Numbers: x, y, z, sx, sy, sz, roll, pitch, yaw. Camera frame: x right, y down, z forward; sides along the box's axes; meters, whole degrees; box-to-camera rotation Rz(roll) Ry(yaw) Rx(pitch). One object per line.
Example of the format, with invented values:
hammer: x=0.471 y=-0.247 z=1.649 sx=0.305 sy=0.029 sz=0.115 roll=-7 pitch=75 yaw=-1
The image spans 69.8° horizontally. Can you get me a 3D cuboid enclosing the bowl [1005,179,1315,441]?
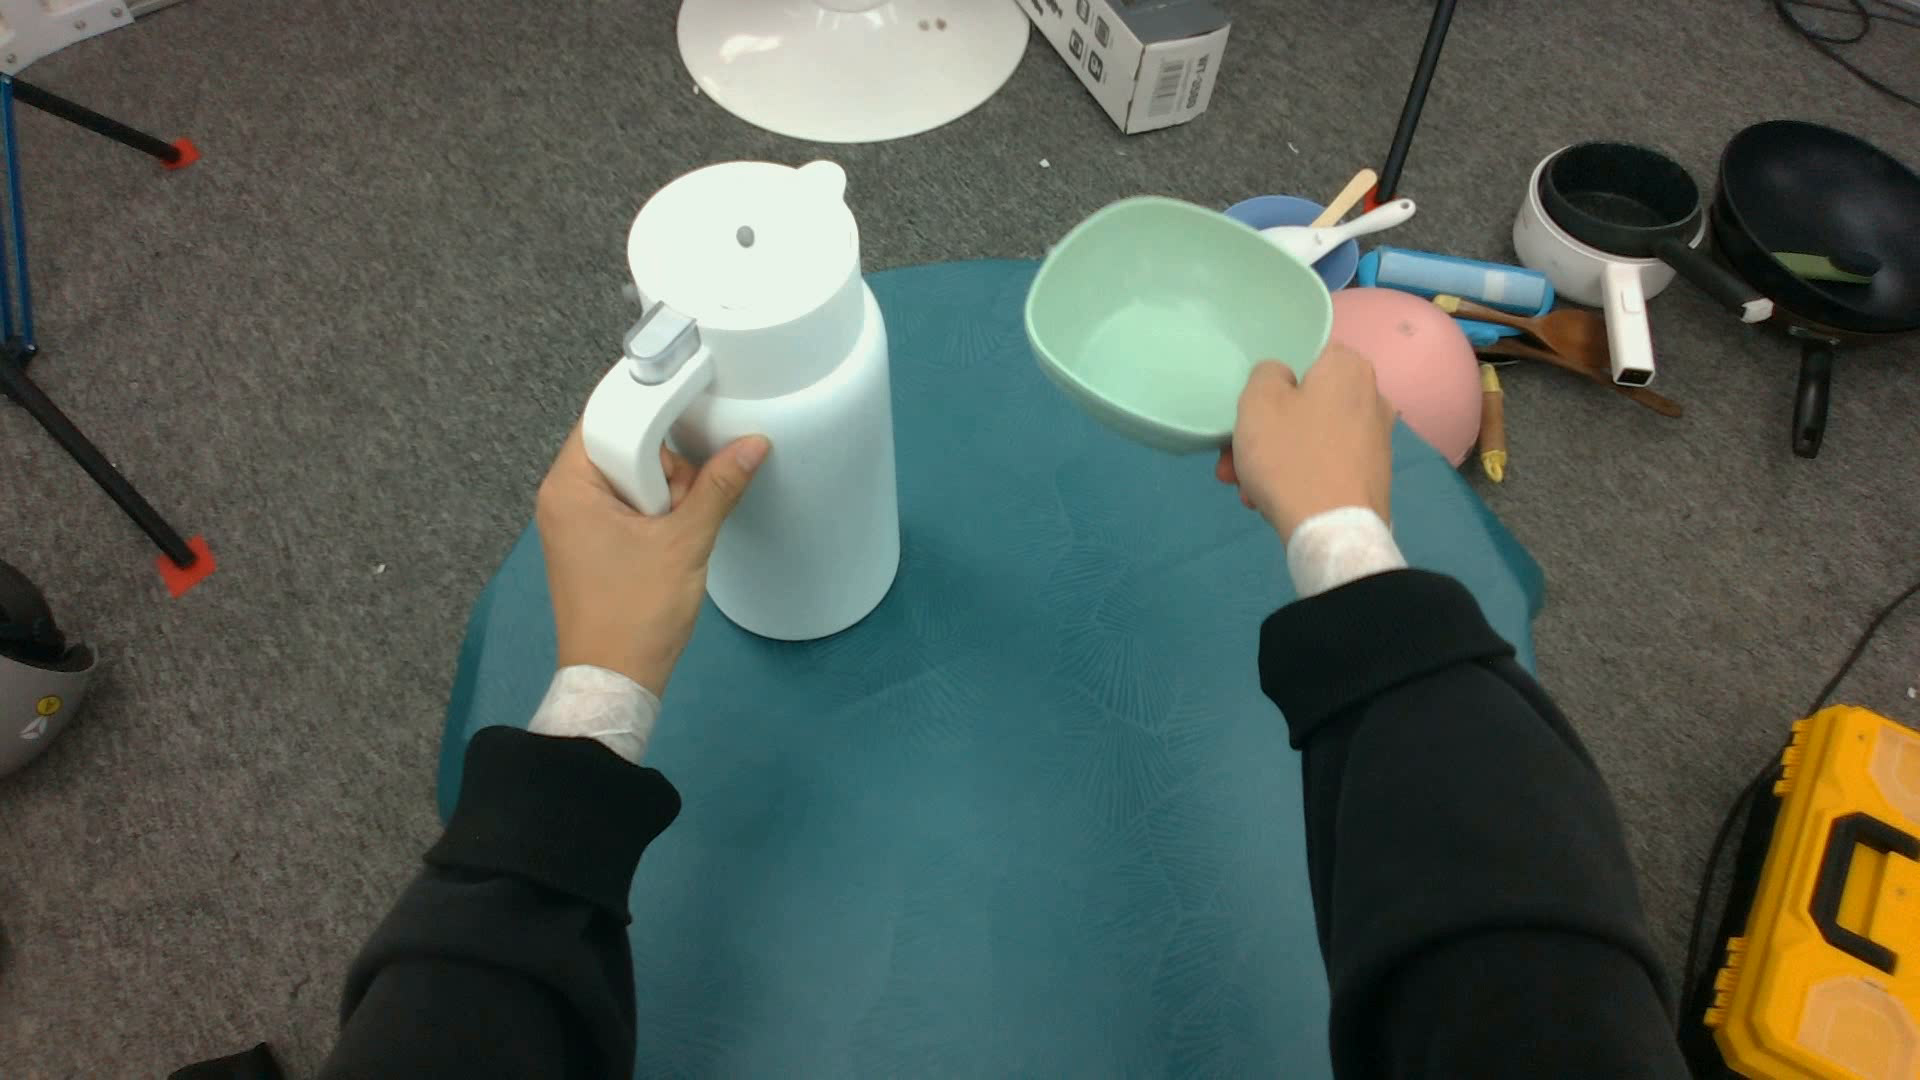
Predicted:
bowl: x=0.094 y=-0.104 z=0.675 sx=0.151 sy=0.058 sz=0.152 roll=2 pitch=57 yaw=-4

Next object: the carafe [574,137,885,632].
carafe: x=-0.108 y=-0.051 z=0.693 sx=0.124 sy=0.267 sz=0.173 roll=27 pitch=61 yaw=13
